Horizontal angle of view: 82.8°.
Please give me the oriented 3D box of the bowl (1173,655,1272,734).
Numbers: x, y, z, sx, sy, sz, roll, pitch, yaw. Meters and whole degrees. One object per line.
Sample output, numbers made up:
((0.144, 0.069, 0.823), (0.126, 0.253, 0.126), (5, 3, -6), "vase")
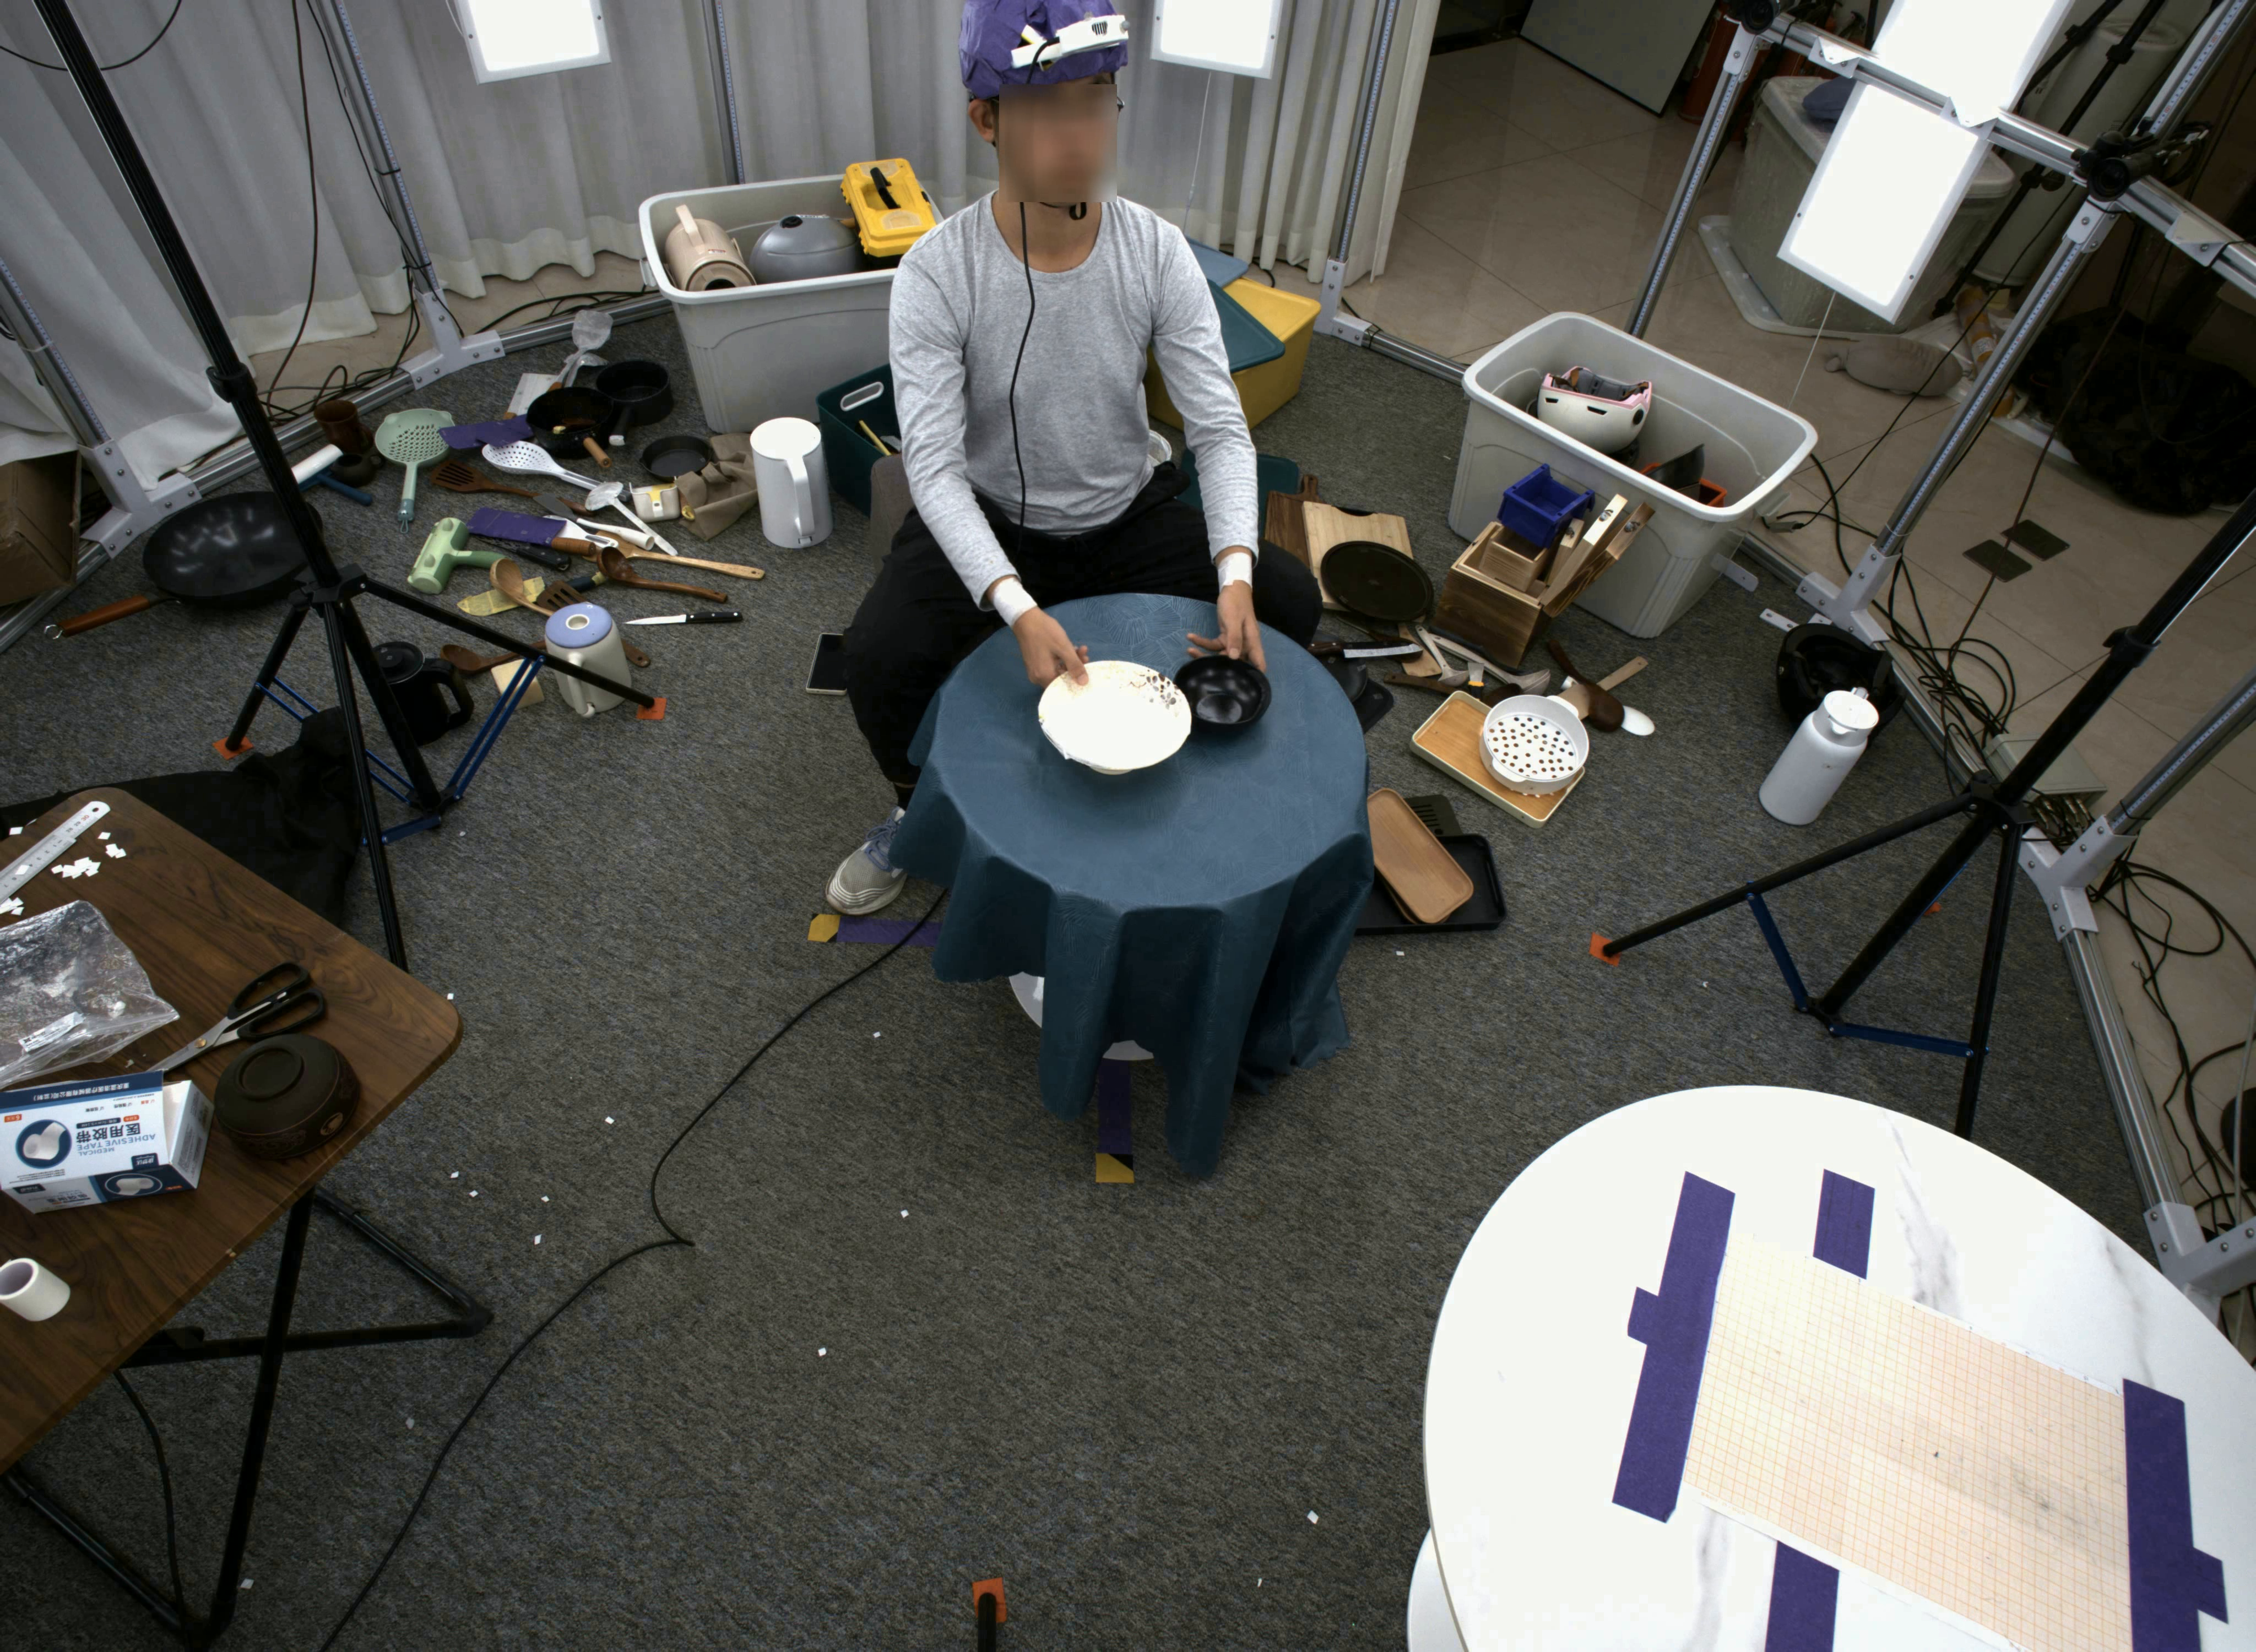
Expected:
((0.130, -0.176, 1.797), (0.140, 0.048, 0.143), (3, 47, -4), "bowl")

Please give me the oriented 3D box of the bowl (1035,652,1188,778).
((-0.026, -0.131, 1.712), (0.203, 0.076, 0.209), (4, 56, -6), "bowl")
